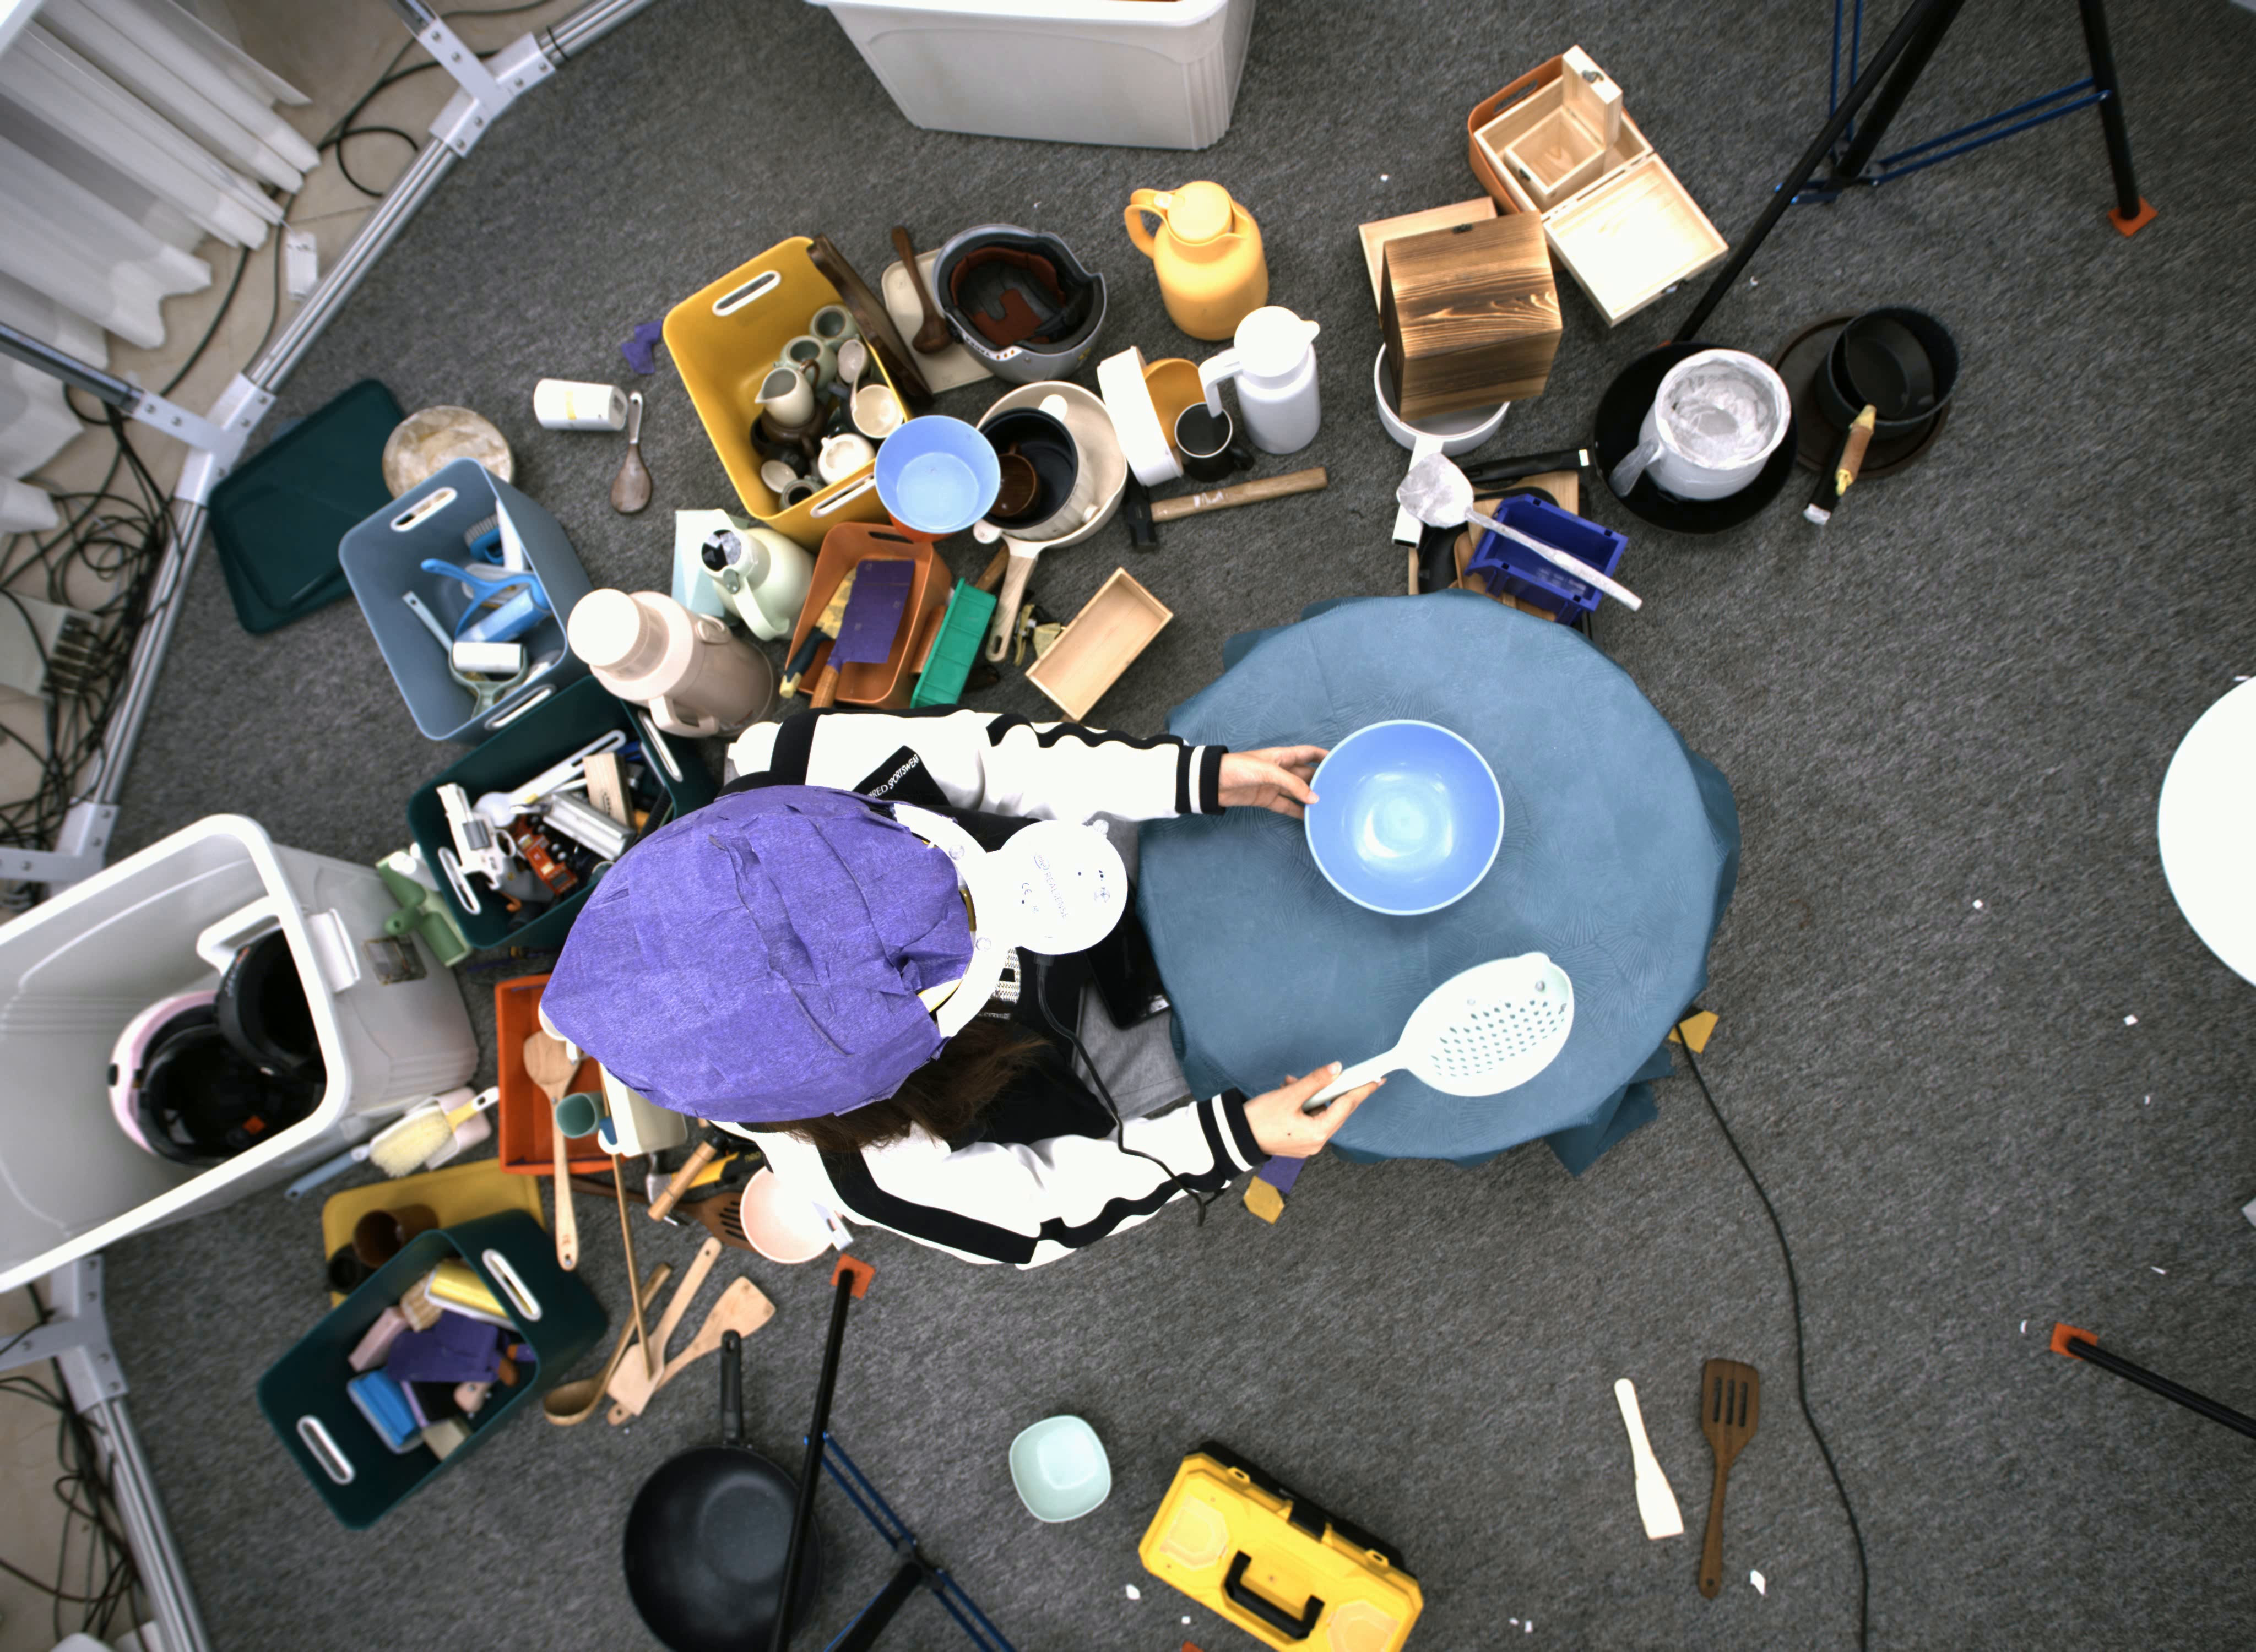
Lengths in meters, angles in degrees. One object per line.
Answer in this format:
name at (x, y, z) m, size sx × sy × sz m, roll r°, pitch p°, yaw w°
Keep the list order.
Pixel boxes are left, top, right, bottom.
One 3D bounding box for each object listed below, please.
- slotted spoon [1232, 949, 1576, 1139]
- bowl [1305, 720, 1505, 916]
slotted spoon at (0.255, 0.225, 1.320) m, size 0.362 × 0.165 × 0.076 m, roll -19°, pitch 115°, yaw 16°
bowl at (0.282, -0.006, 1.414) m, size 0.197 × 0.095 × 0.195 m, roll -1°, pitch 87°, yaw 10°
